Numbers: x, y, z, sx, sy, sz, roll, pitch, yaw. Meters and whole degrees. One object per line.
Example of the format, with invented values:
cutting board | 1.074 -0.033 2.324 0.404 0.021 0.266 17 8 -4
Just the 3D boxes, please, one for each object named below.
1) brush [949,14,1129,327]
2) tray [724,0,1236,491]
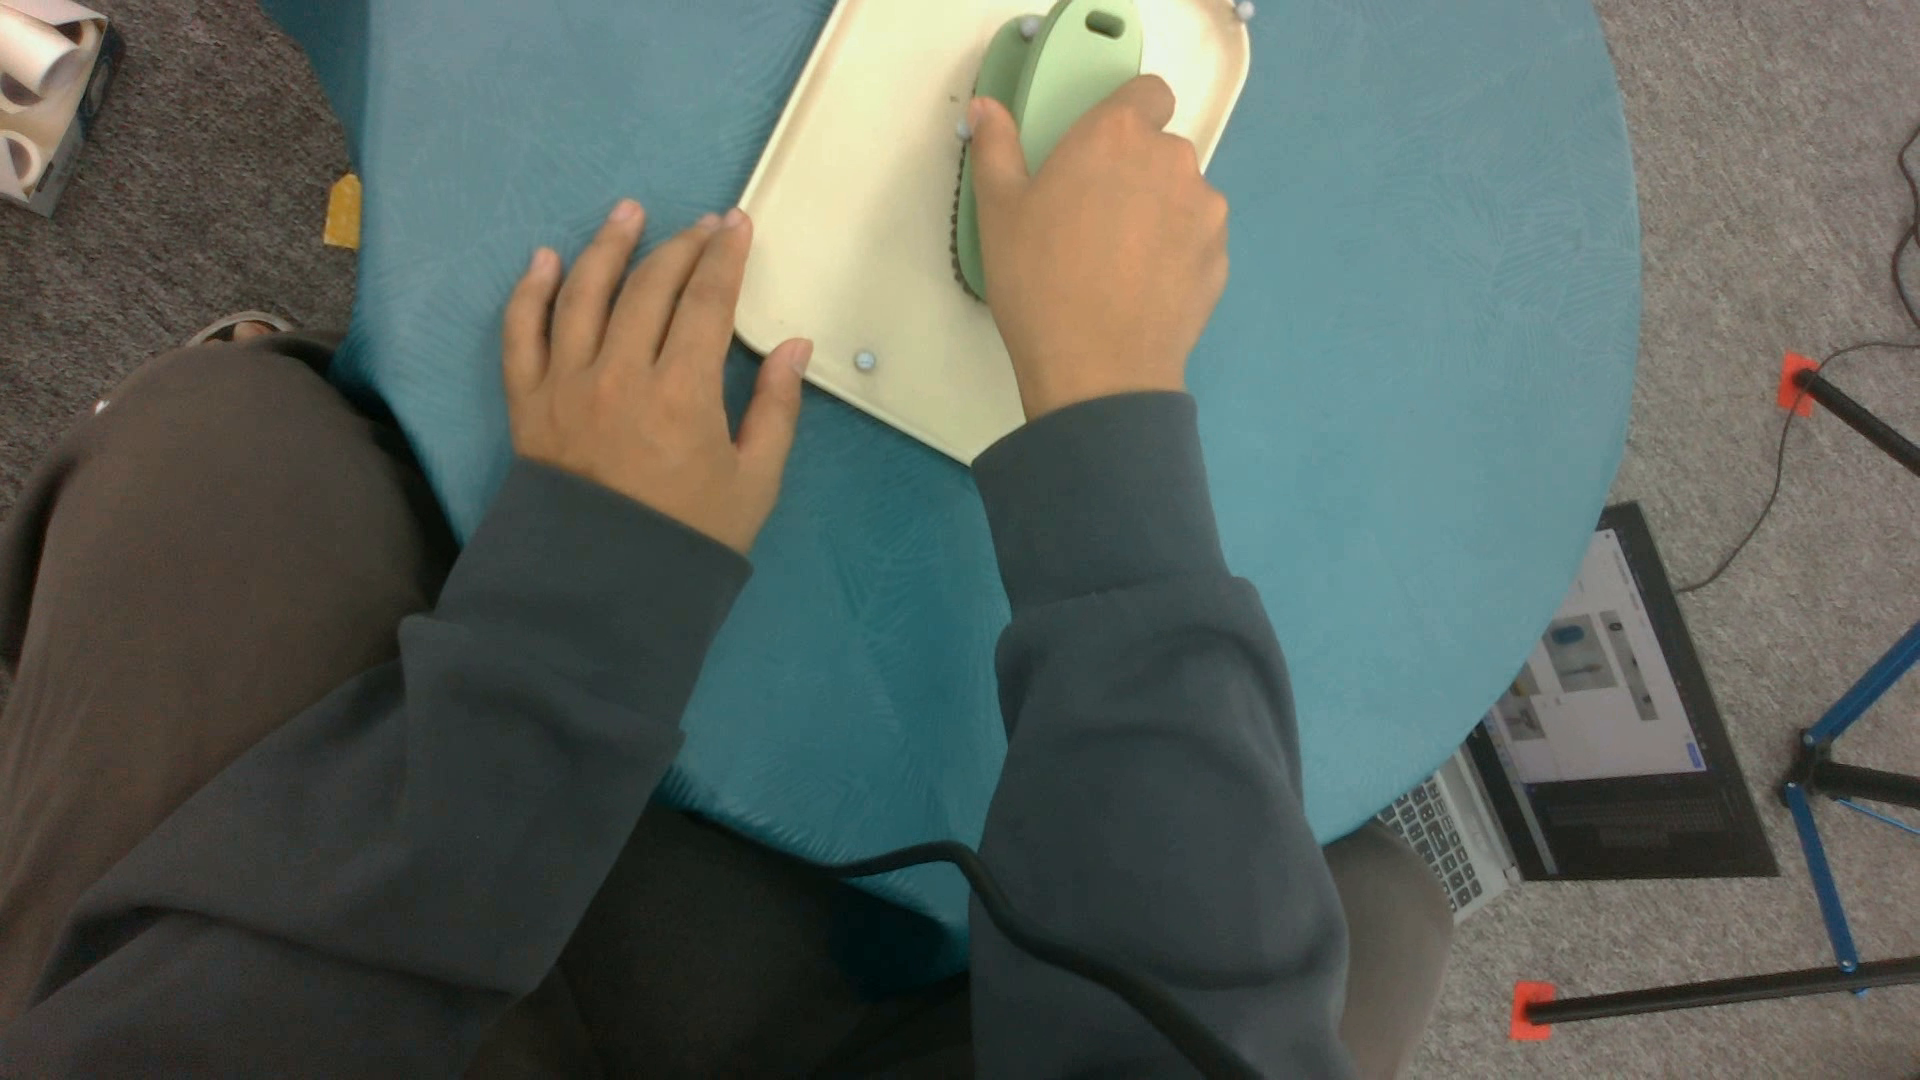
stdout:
brush | 0.030 -0.151 0.571 0.060 0.076 0.123 6 101 -19
tray | 0.014 -0.153 0.586 0.171 0.017 0.240 25 81 -17
